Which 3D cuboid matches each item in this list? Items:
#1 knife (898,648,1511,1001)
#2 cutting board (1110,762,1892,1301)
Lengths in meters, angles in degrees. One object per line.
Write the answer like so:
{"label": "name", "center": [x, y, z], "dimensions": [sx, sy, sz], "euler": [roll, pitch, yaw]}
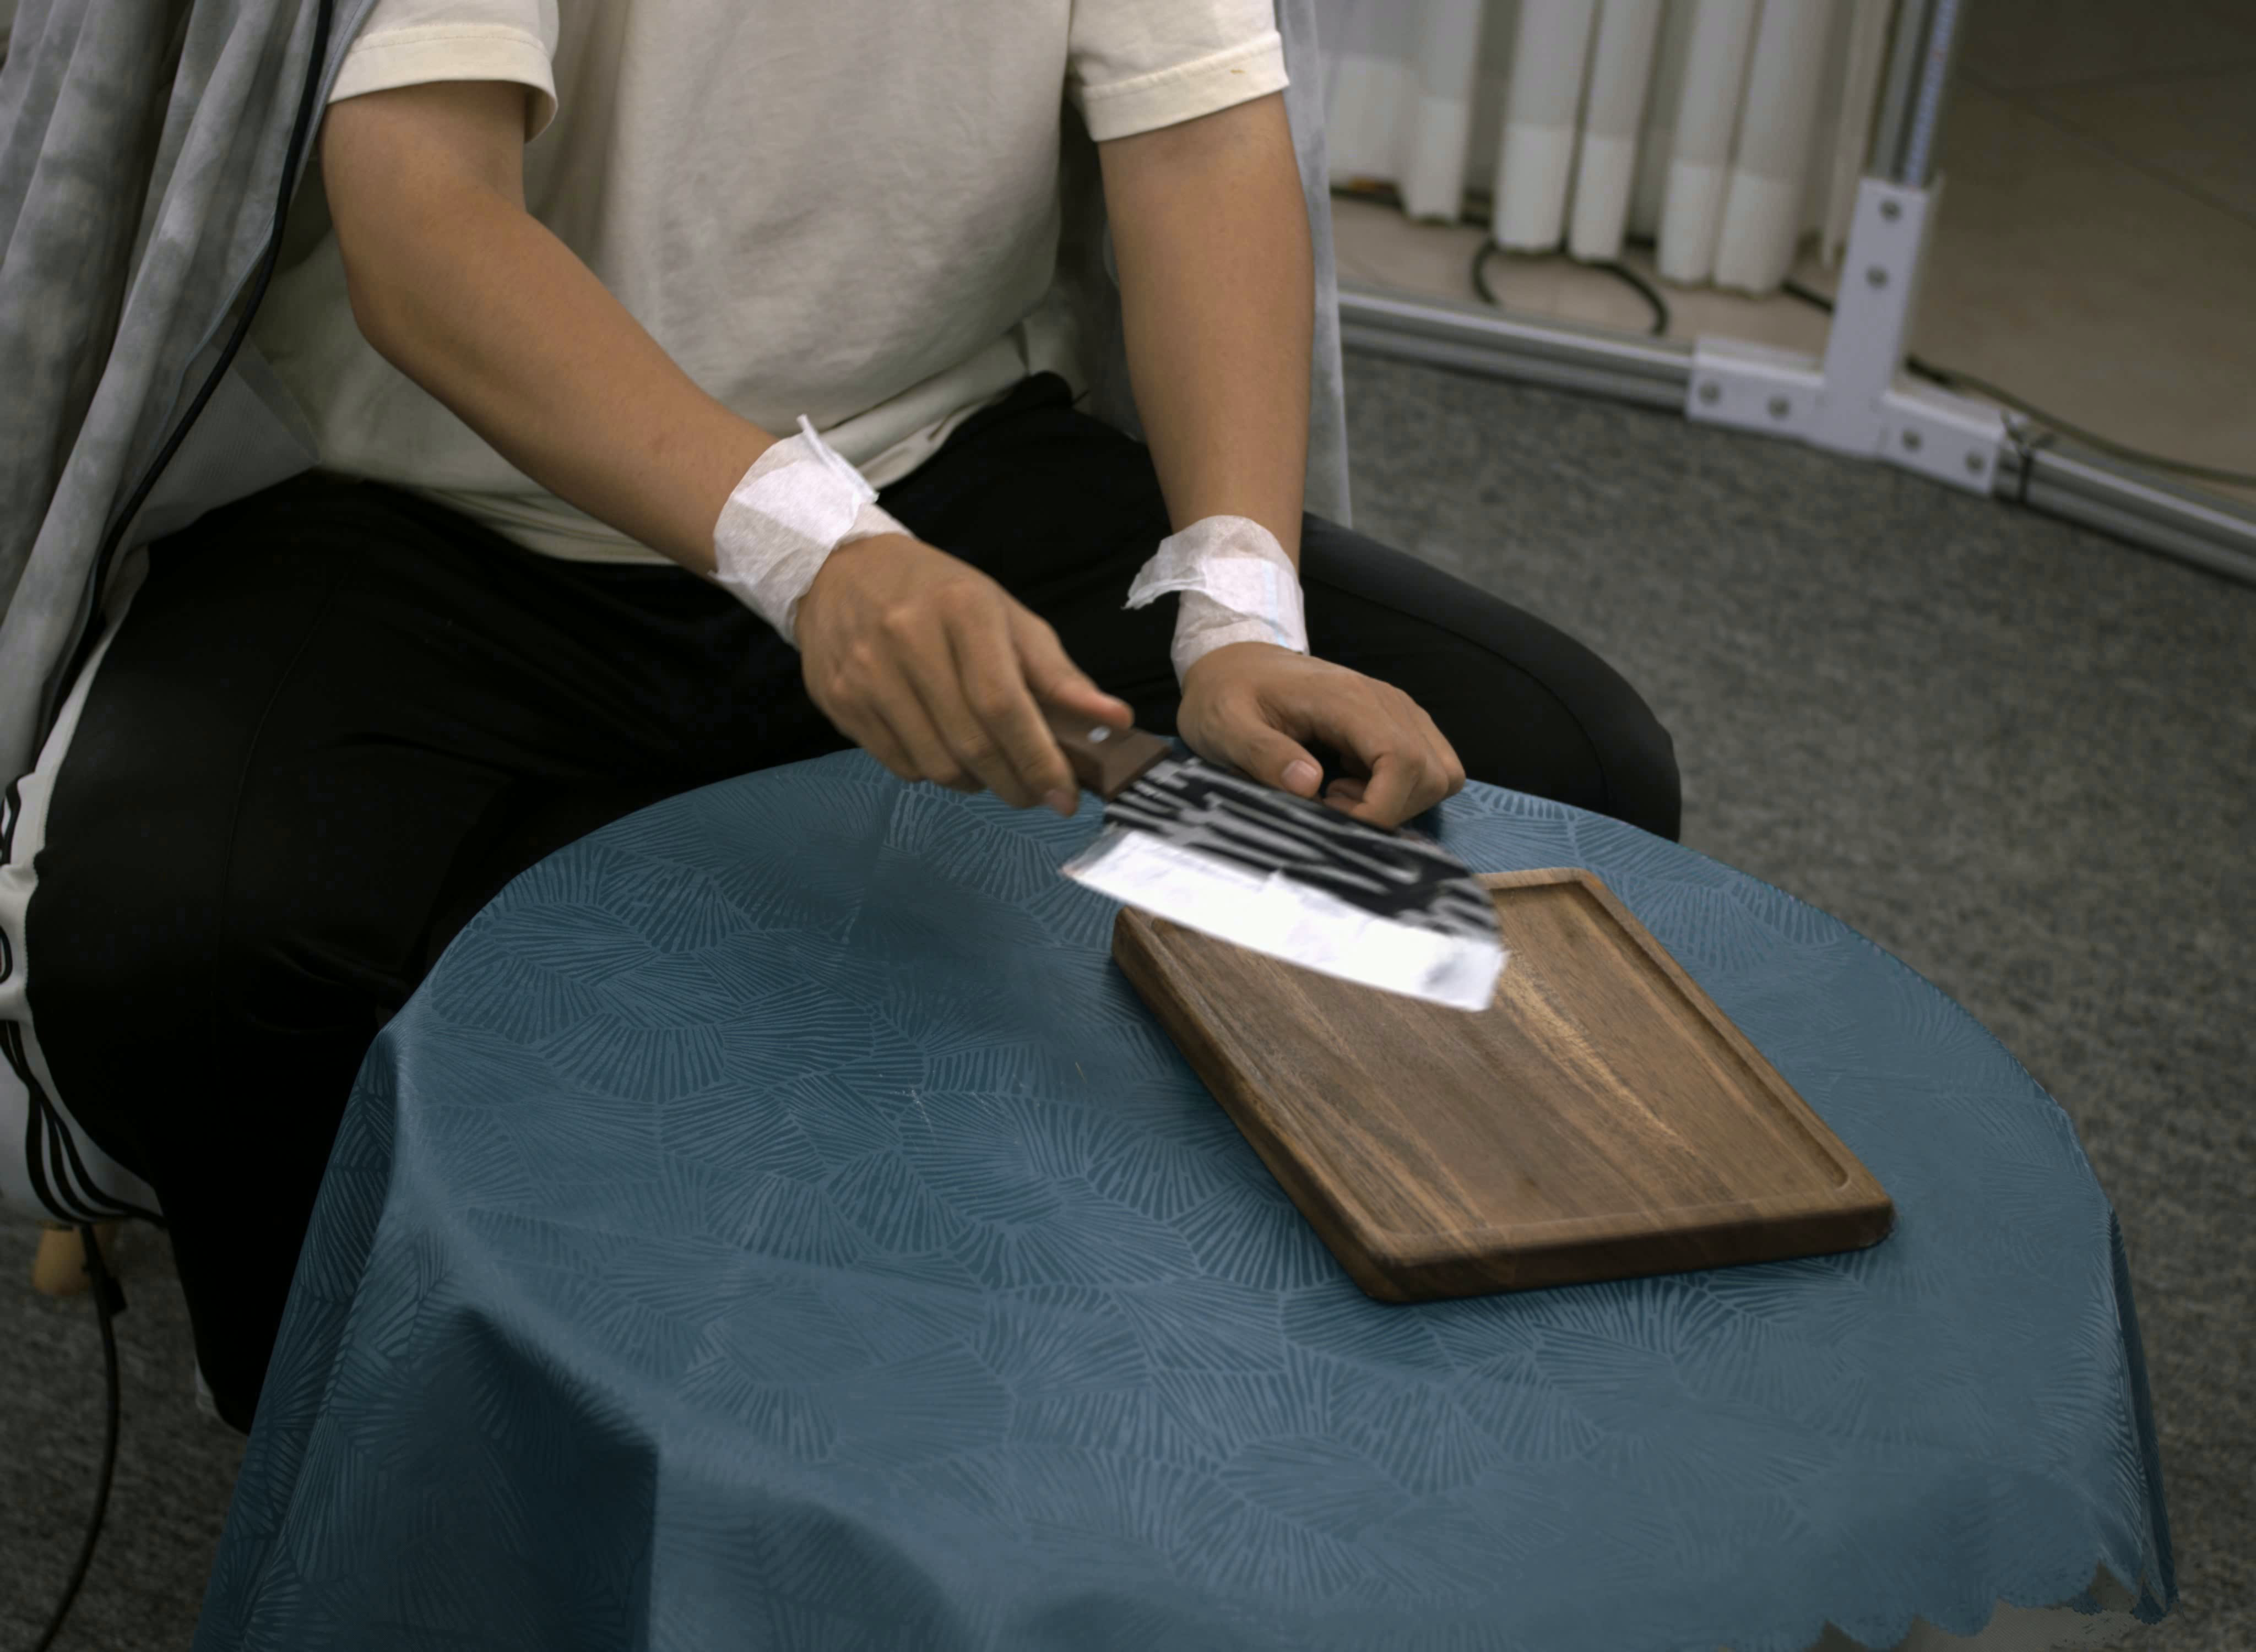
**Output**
{"label": "knife", "center": [0.019, -0.001, 1.866], "dimensions": [0.301, 0.024, 0.068], "euler": [21, 55, 35]}
{"label": "cutting board", "center": [0.110, 0.063, 1.927], "dimensions": [0.200, 0.023, 0.355], "euler": [-5, 28, -21]}
